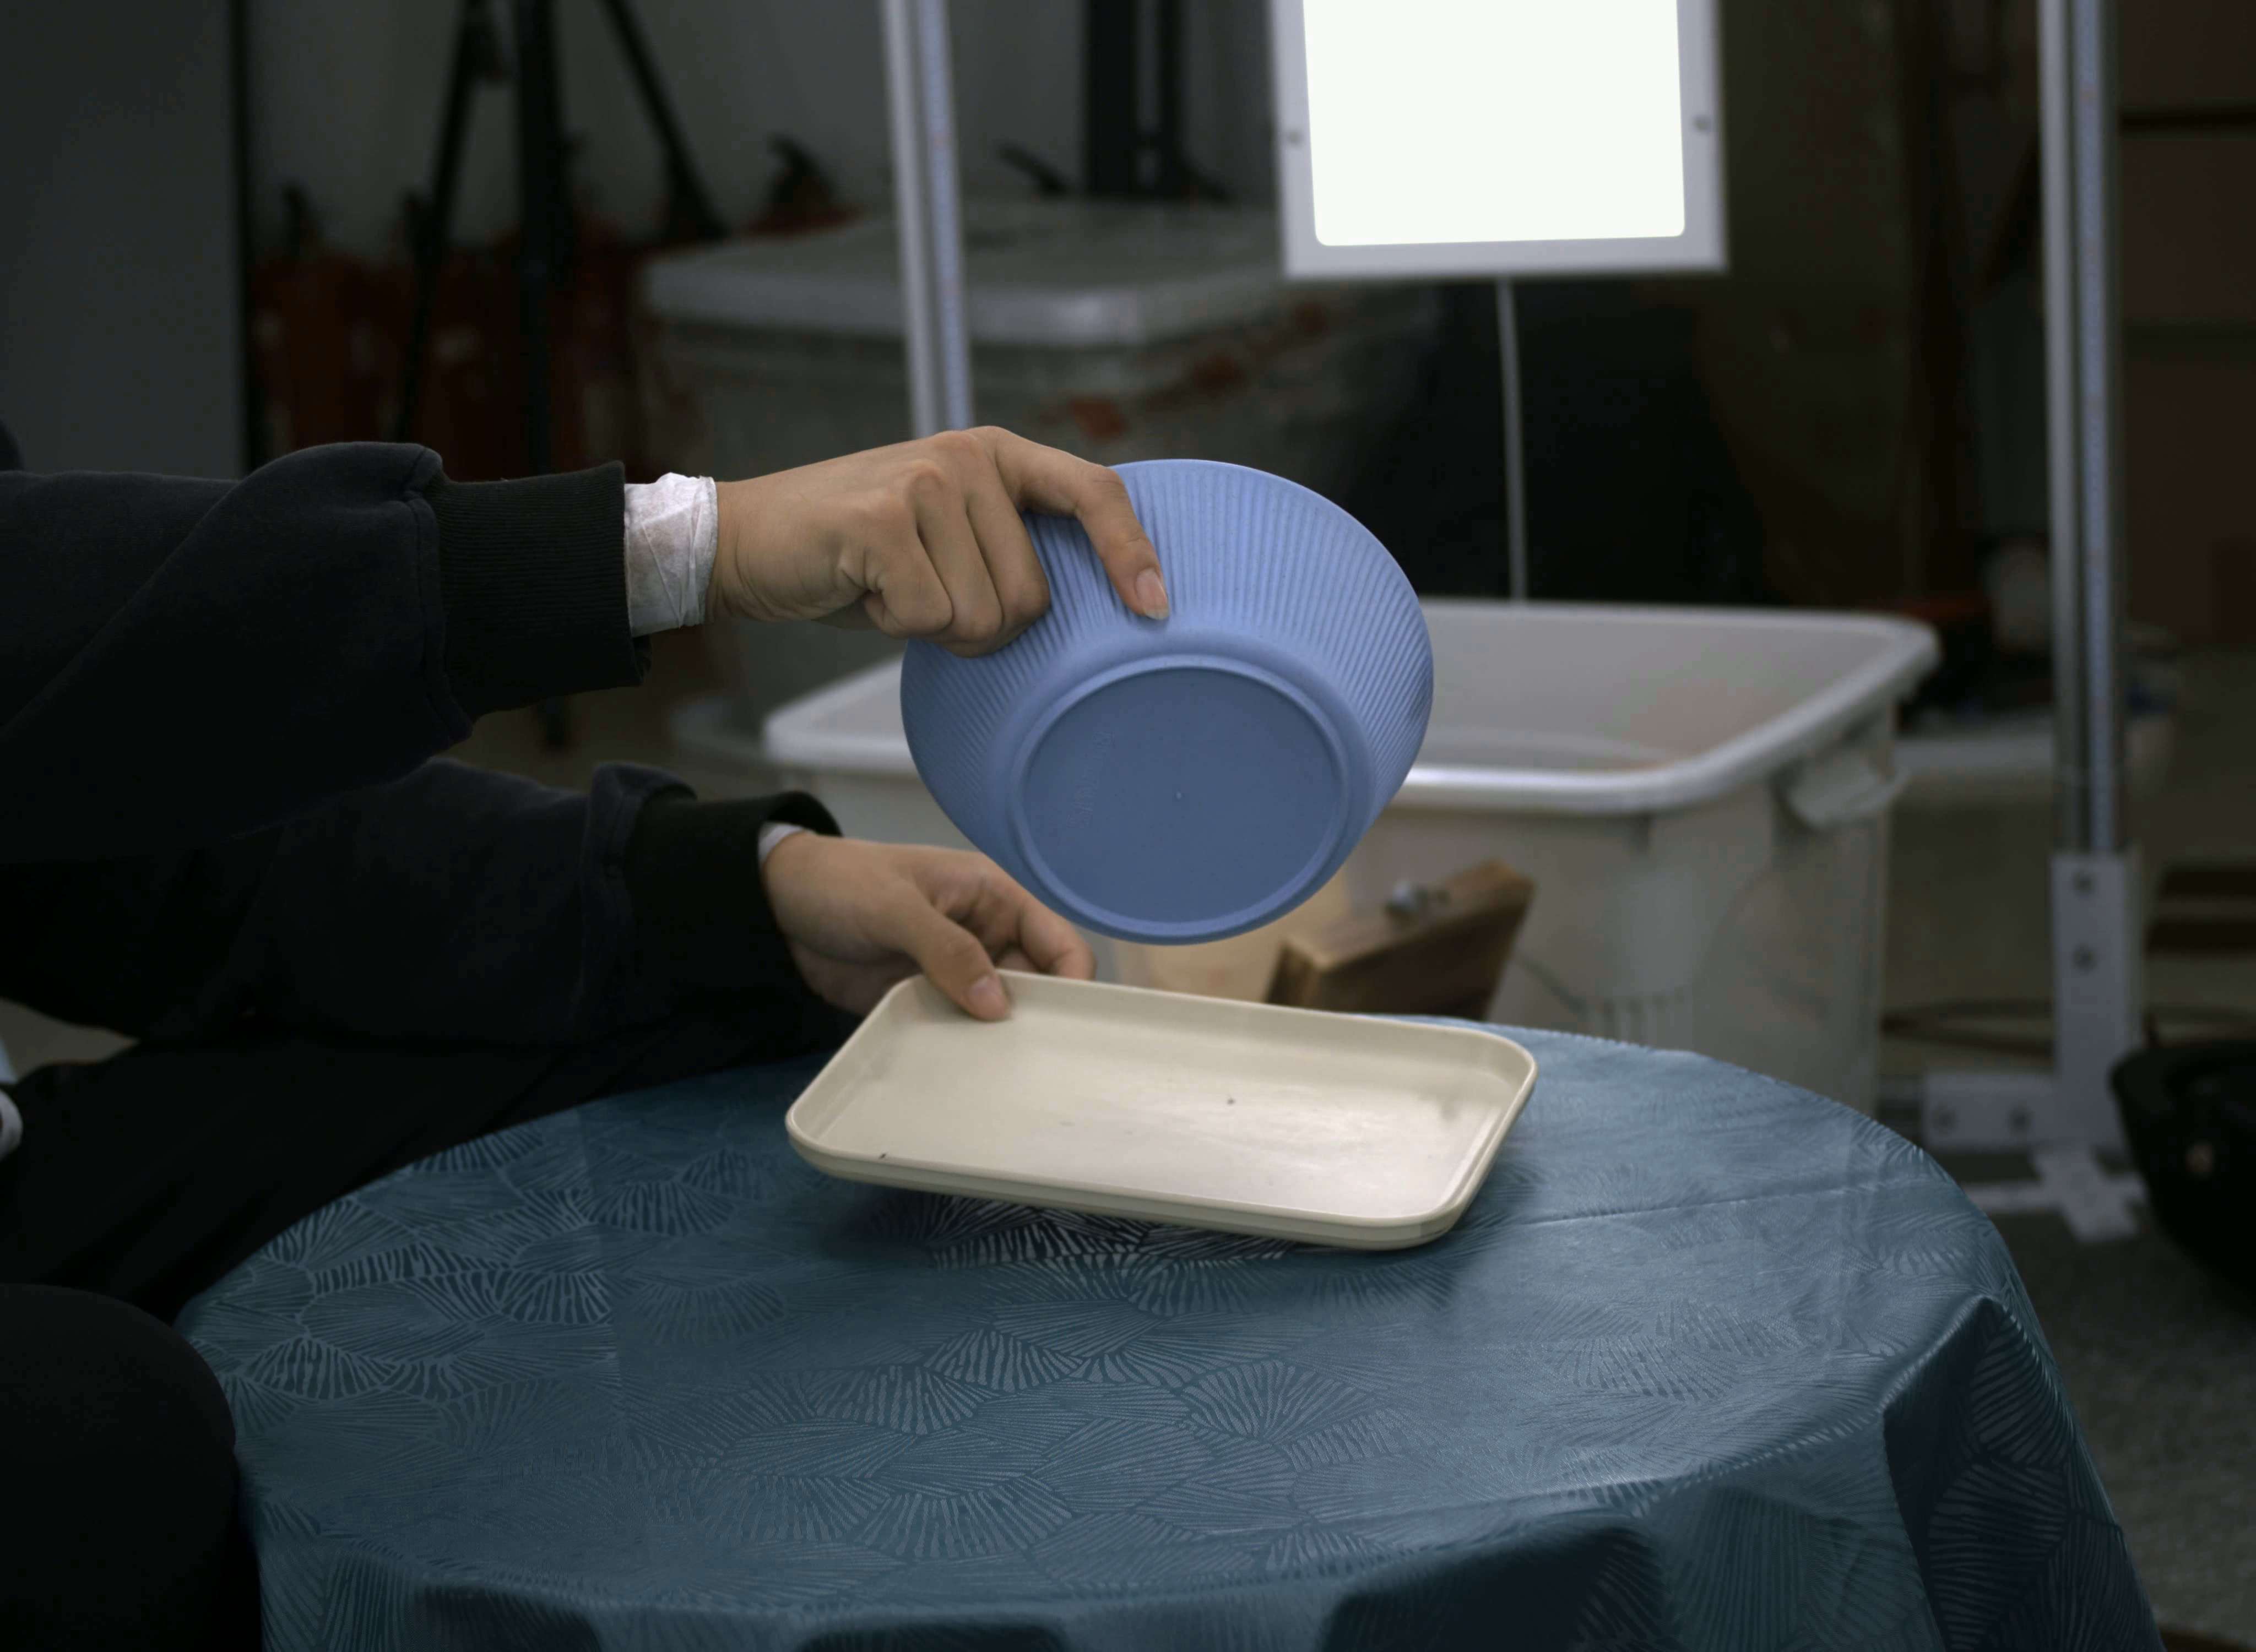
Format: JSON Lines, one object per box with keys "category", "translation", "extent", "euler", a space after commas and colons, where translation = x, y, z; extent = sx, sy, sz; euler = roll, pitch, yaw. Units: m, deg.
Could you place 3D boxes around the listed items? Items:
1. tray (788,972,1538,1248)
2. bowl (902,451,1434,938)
{"category": "tray", "translation": [0.014, 0.098, 1.901], "extent": [0.242, 0.017, 0.168], "euler": [6, 21, 17]}
{"category": "bowl", "translation": [0.016, -0.030, 1.775], "extent": [0.175, 0.177, 0.070], "euler": [-4, 36, 1]}
